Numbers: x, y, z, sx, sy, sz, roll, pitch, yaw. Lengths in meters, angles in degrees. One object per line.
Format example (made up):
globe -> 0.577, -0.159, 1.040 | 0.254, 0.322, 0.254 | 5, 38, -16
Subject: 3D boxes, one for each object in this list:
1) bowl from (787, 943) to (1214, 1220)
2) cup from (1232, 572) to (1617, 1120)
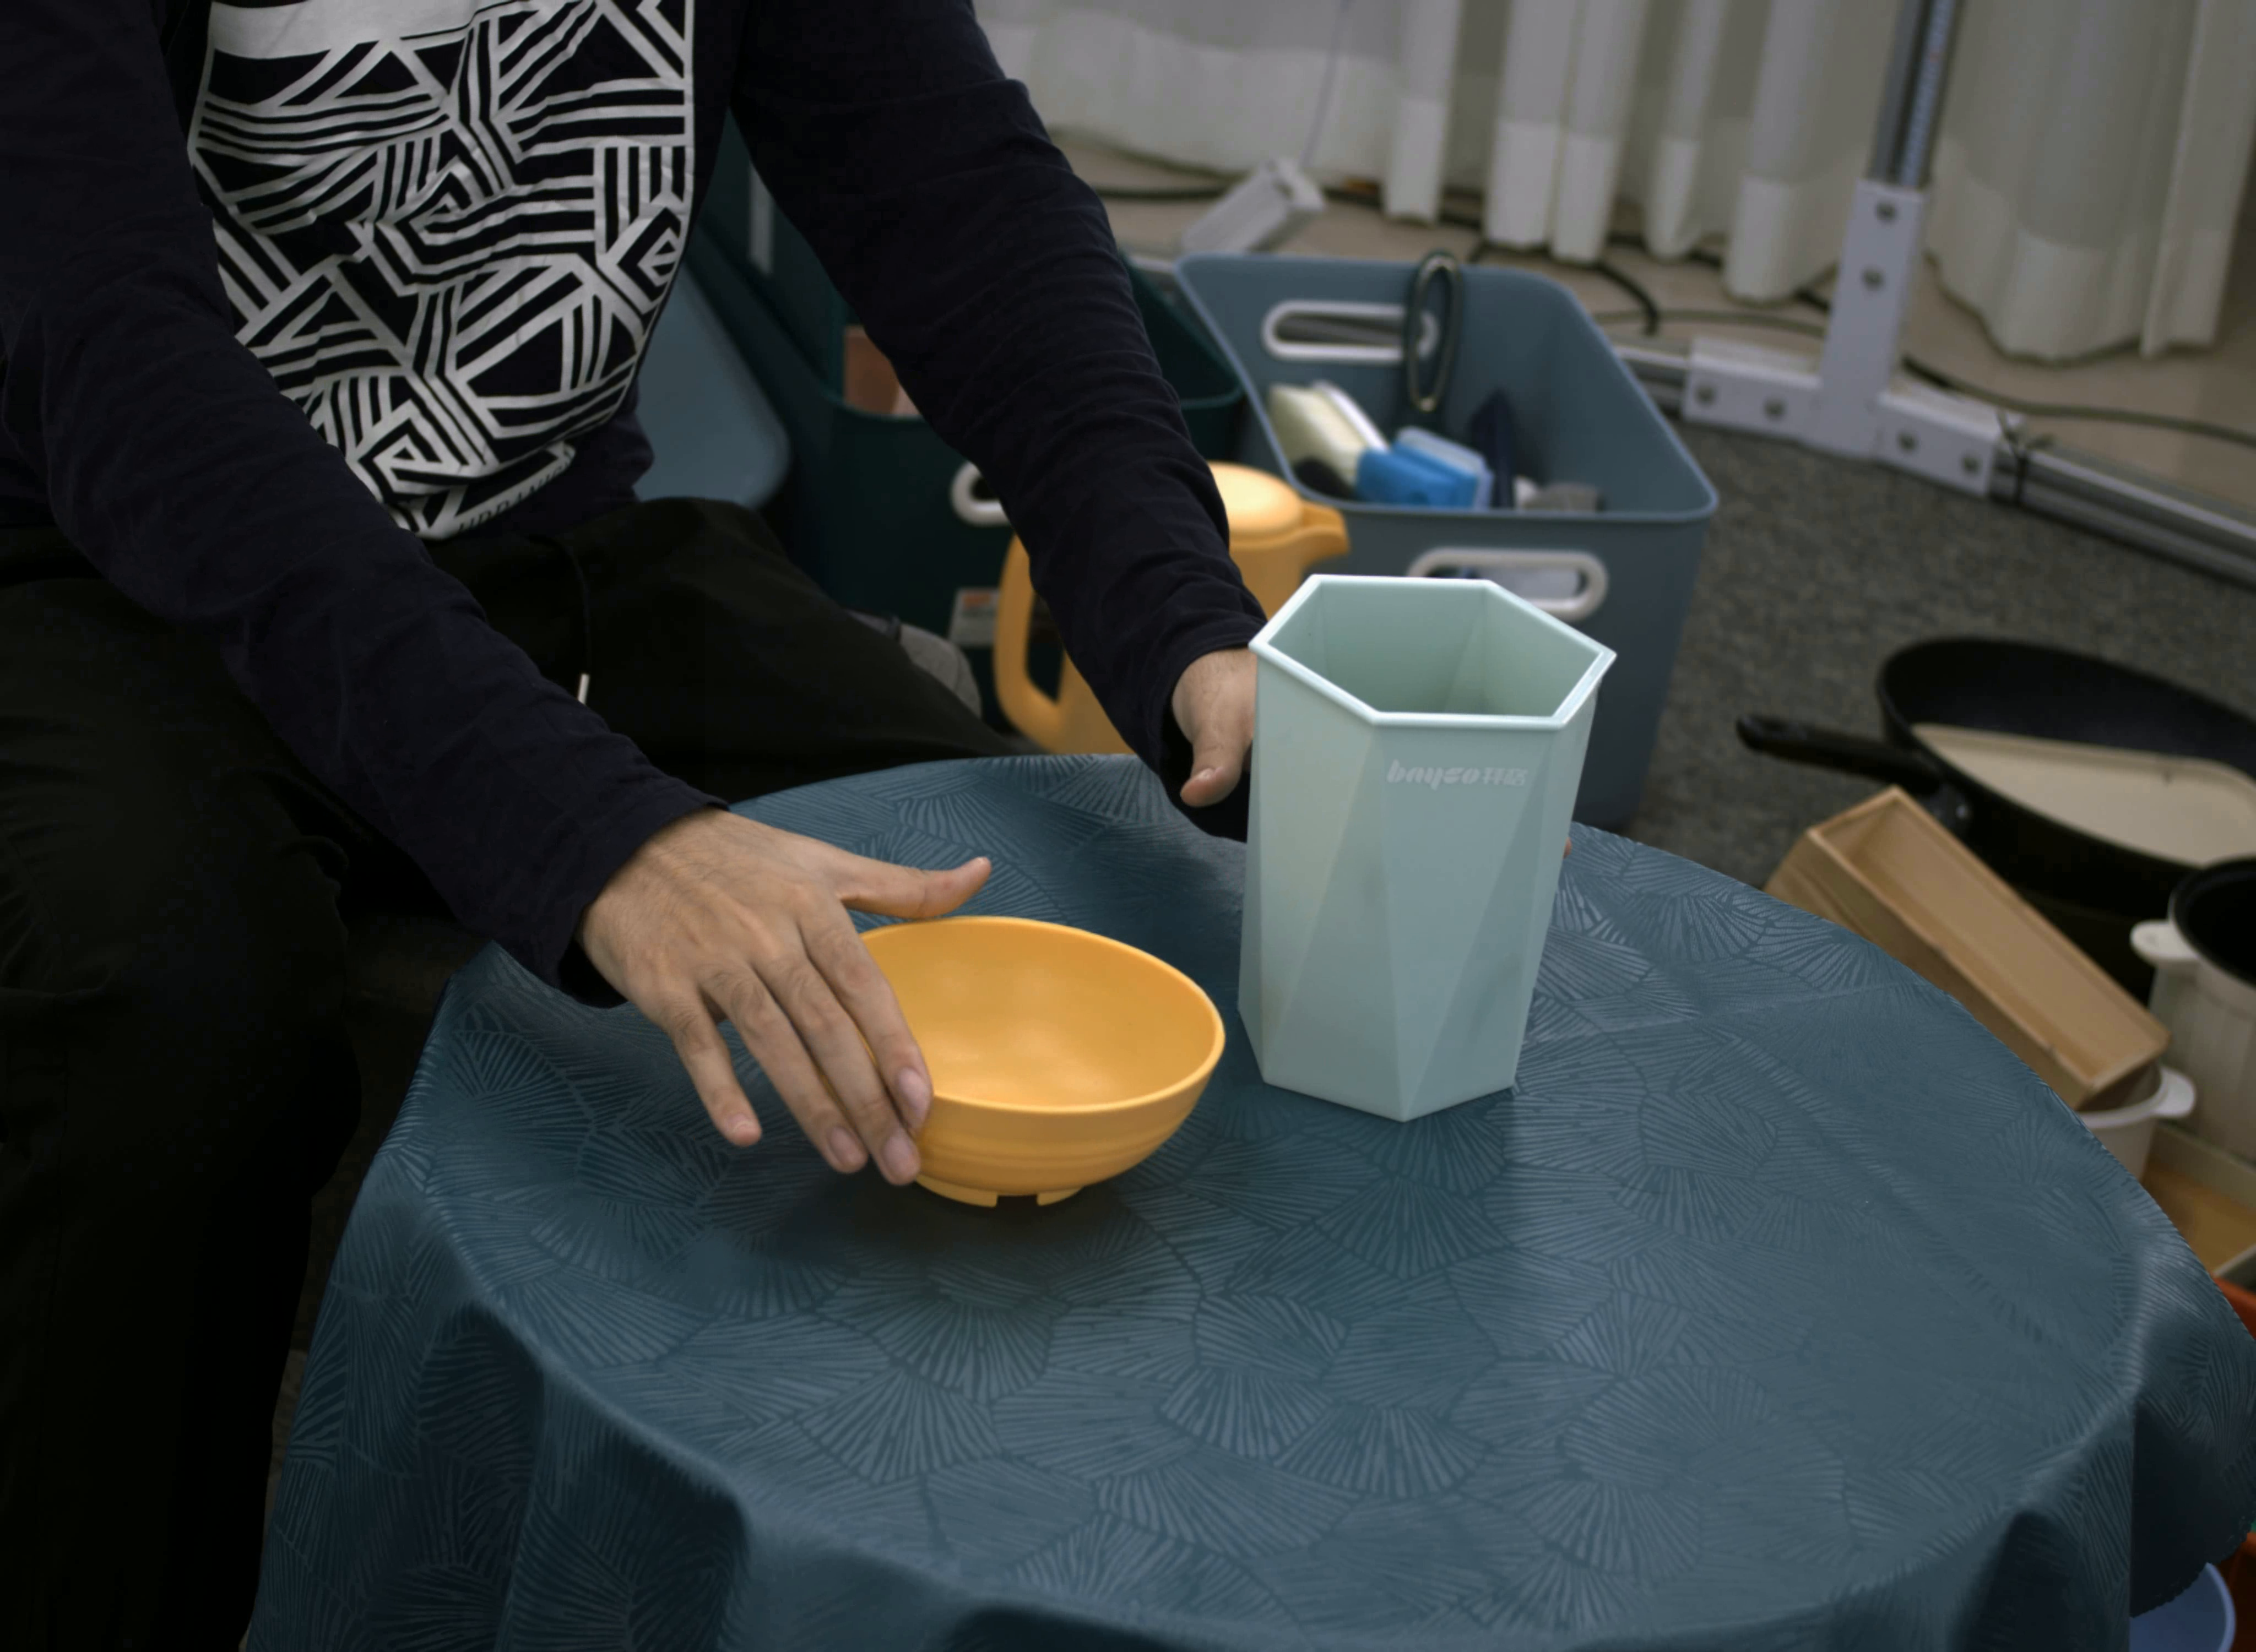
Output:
bowl -> -0.044, 0.093, 1.802 | 0.145, 0.060, 0.146 | 3, 20, -1
cup -> 0.098, 0.009, 1.875 | 0.130, 0.162, 0.116 | 1, 25, -14
